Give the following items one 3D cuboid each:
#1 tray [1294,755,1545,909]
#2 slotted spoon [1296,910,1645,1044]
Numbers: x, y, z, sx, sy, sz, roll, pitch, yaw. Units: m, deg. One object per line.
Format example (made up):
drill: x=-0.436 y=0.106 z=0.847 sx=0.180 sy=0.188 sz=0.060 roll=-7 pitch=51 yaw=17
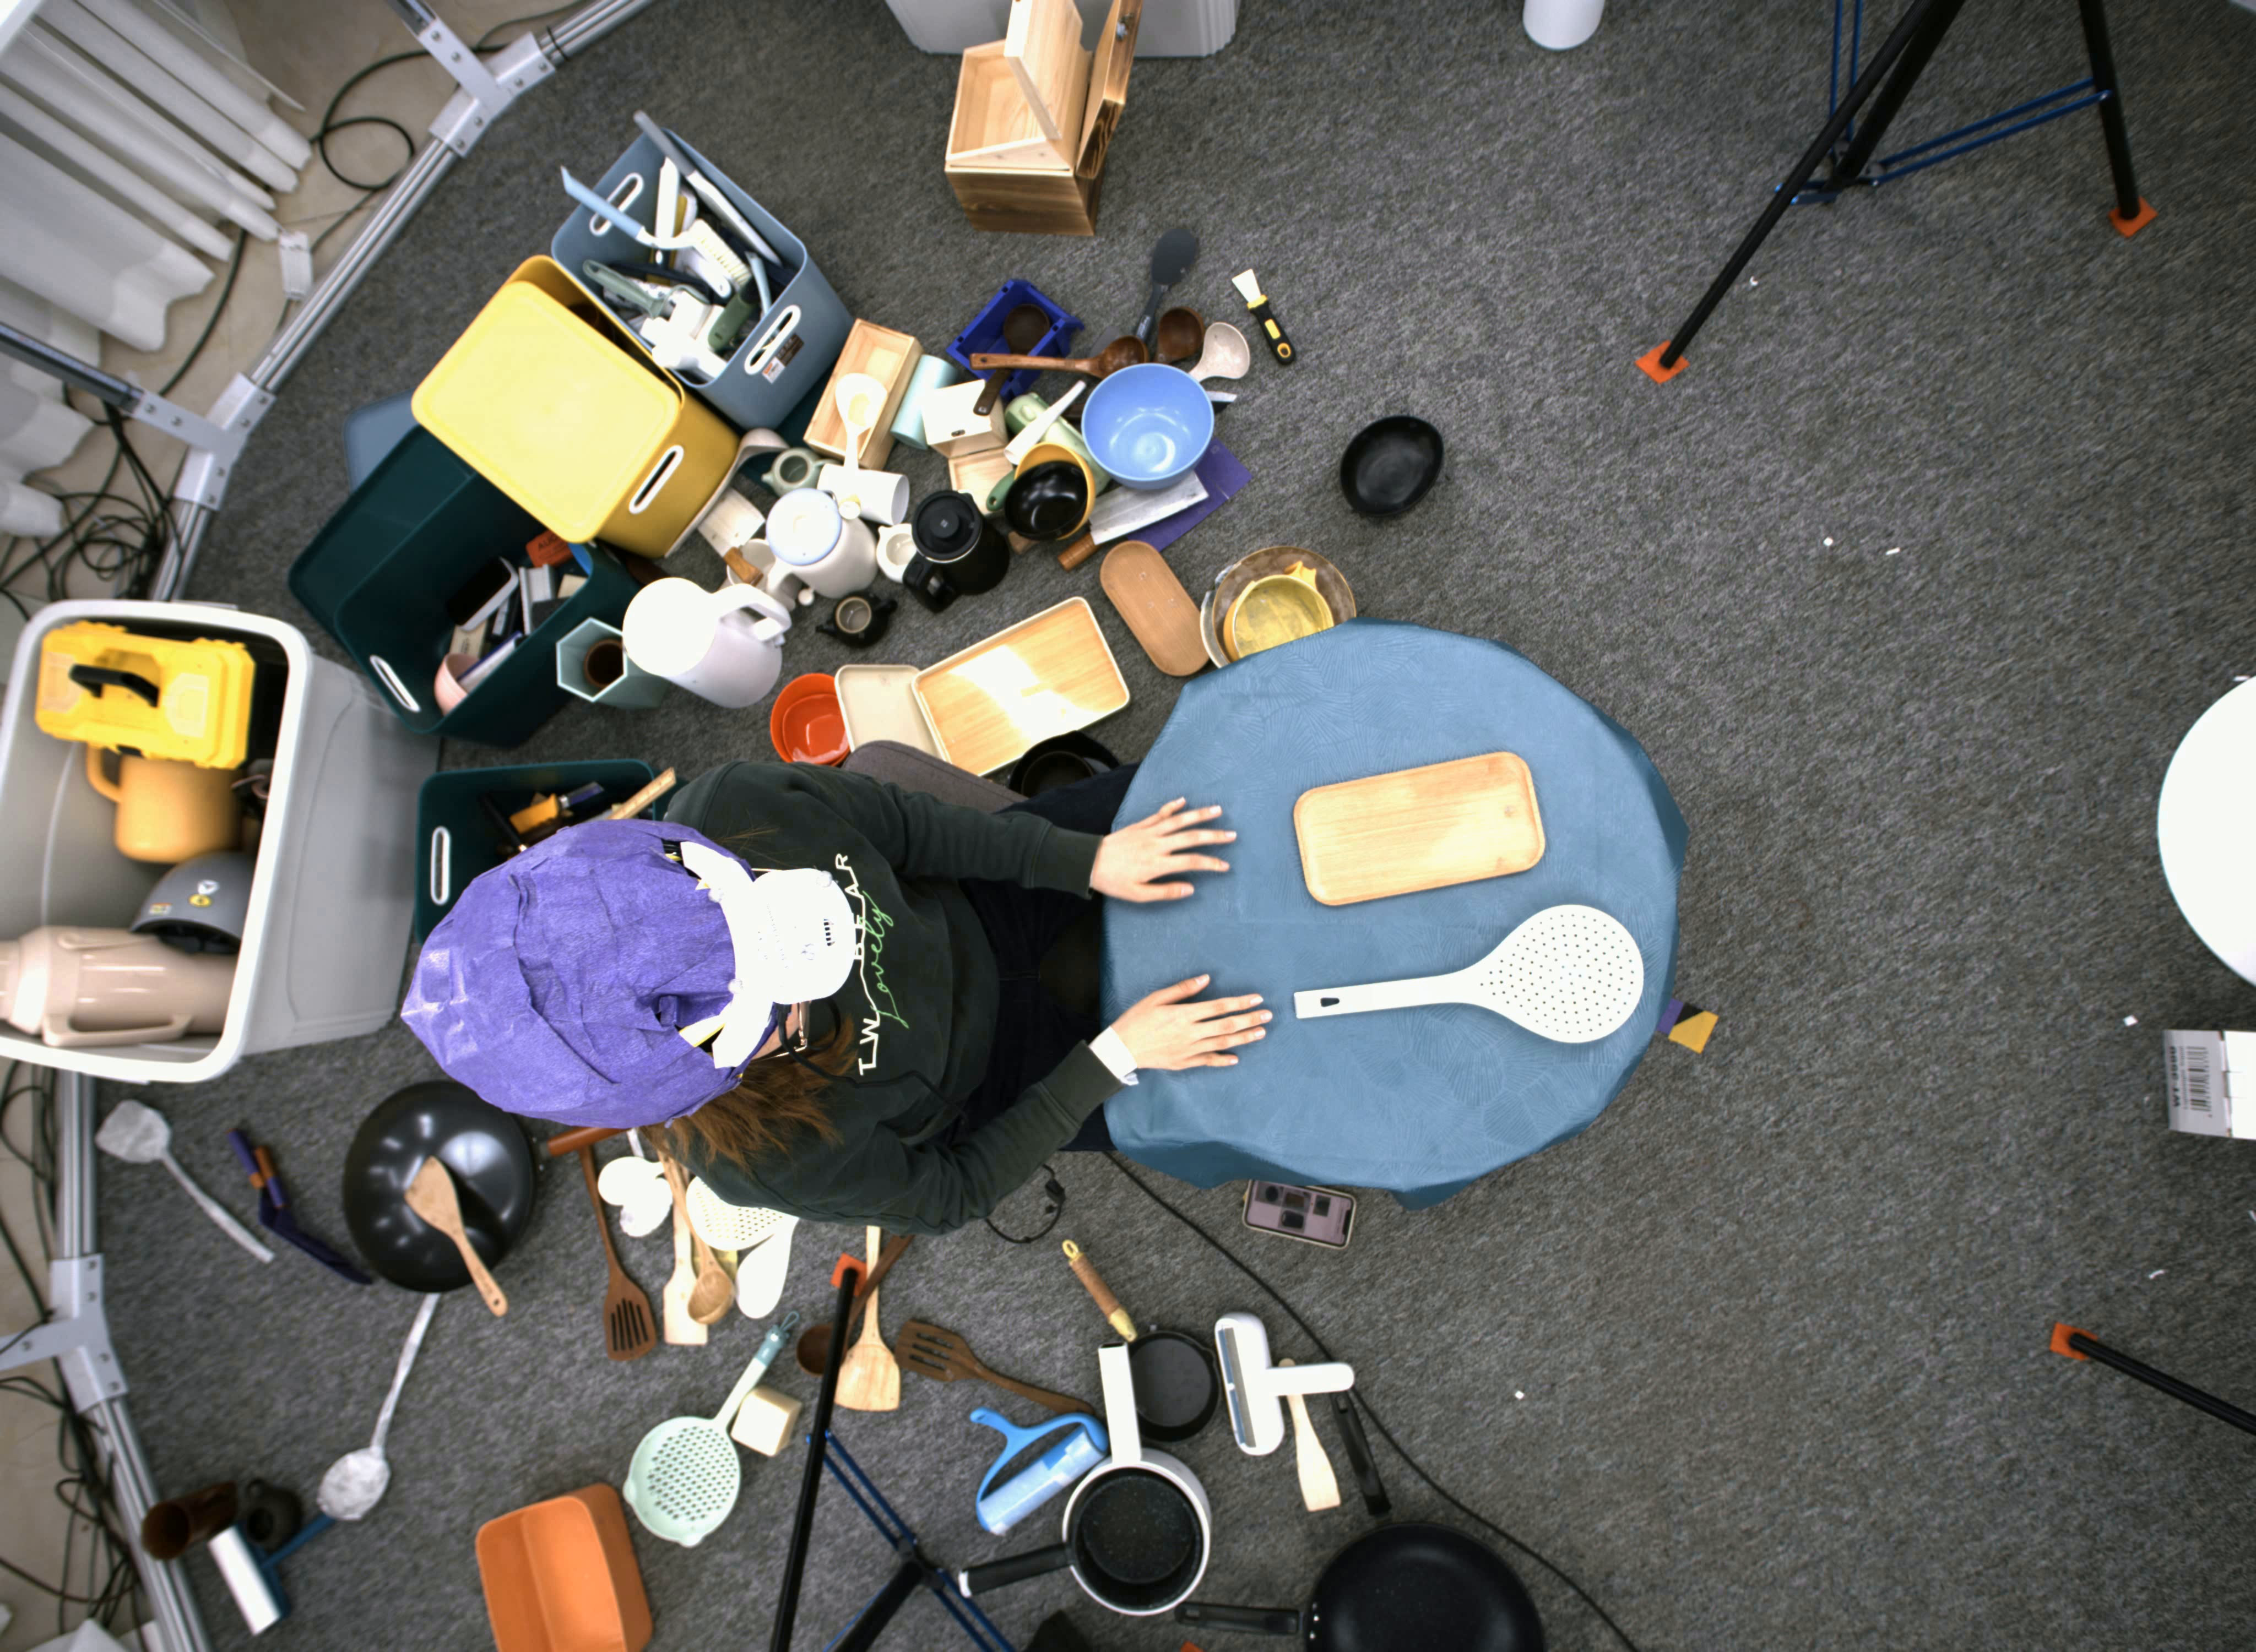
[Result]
tray: x=0.306 y=0.005 z=1.454 sx=0.252 sy=0.023 sz=0.129 roll=-11 pitch=82 yaw=10
slotted spoon: x=0.347 y=0.166 z=1.421 sx=0.351 sy=0.046 sz=0.135 roll=-8 pitch=82 yaw=10
